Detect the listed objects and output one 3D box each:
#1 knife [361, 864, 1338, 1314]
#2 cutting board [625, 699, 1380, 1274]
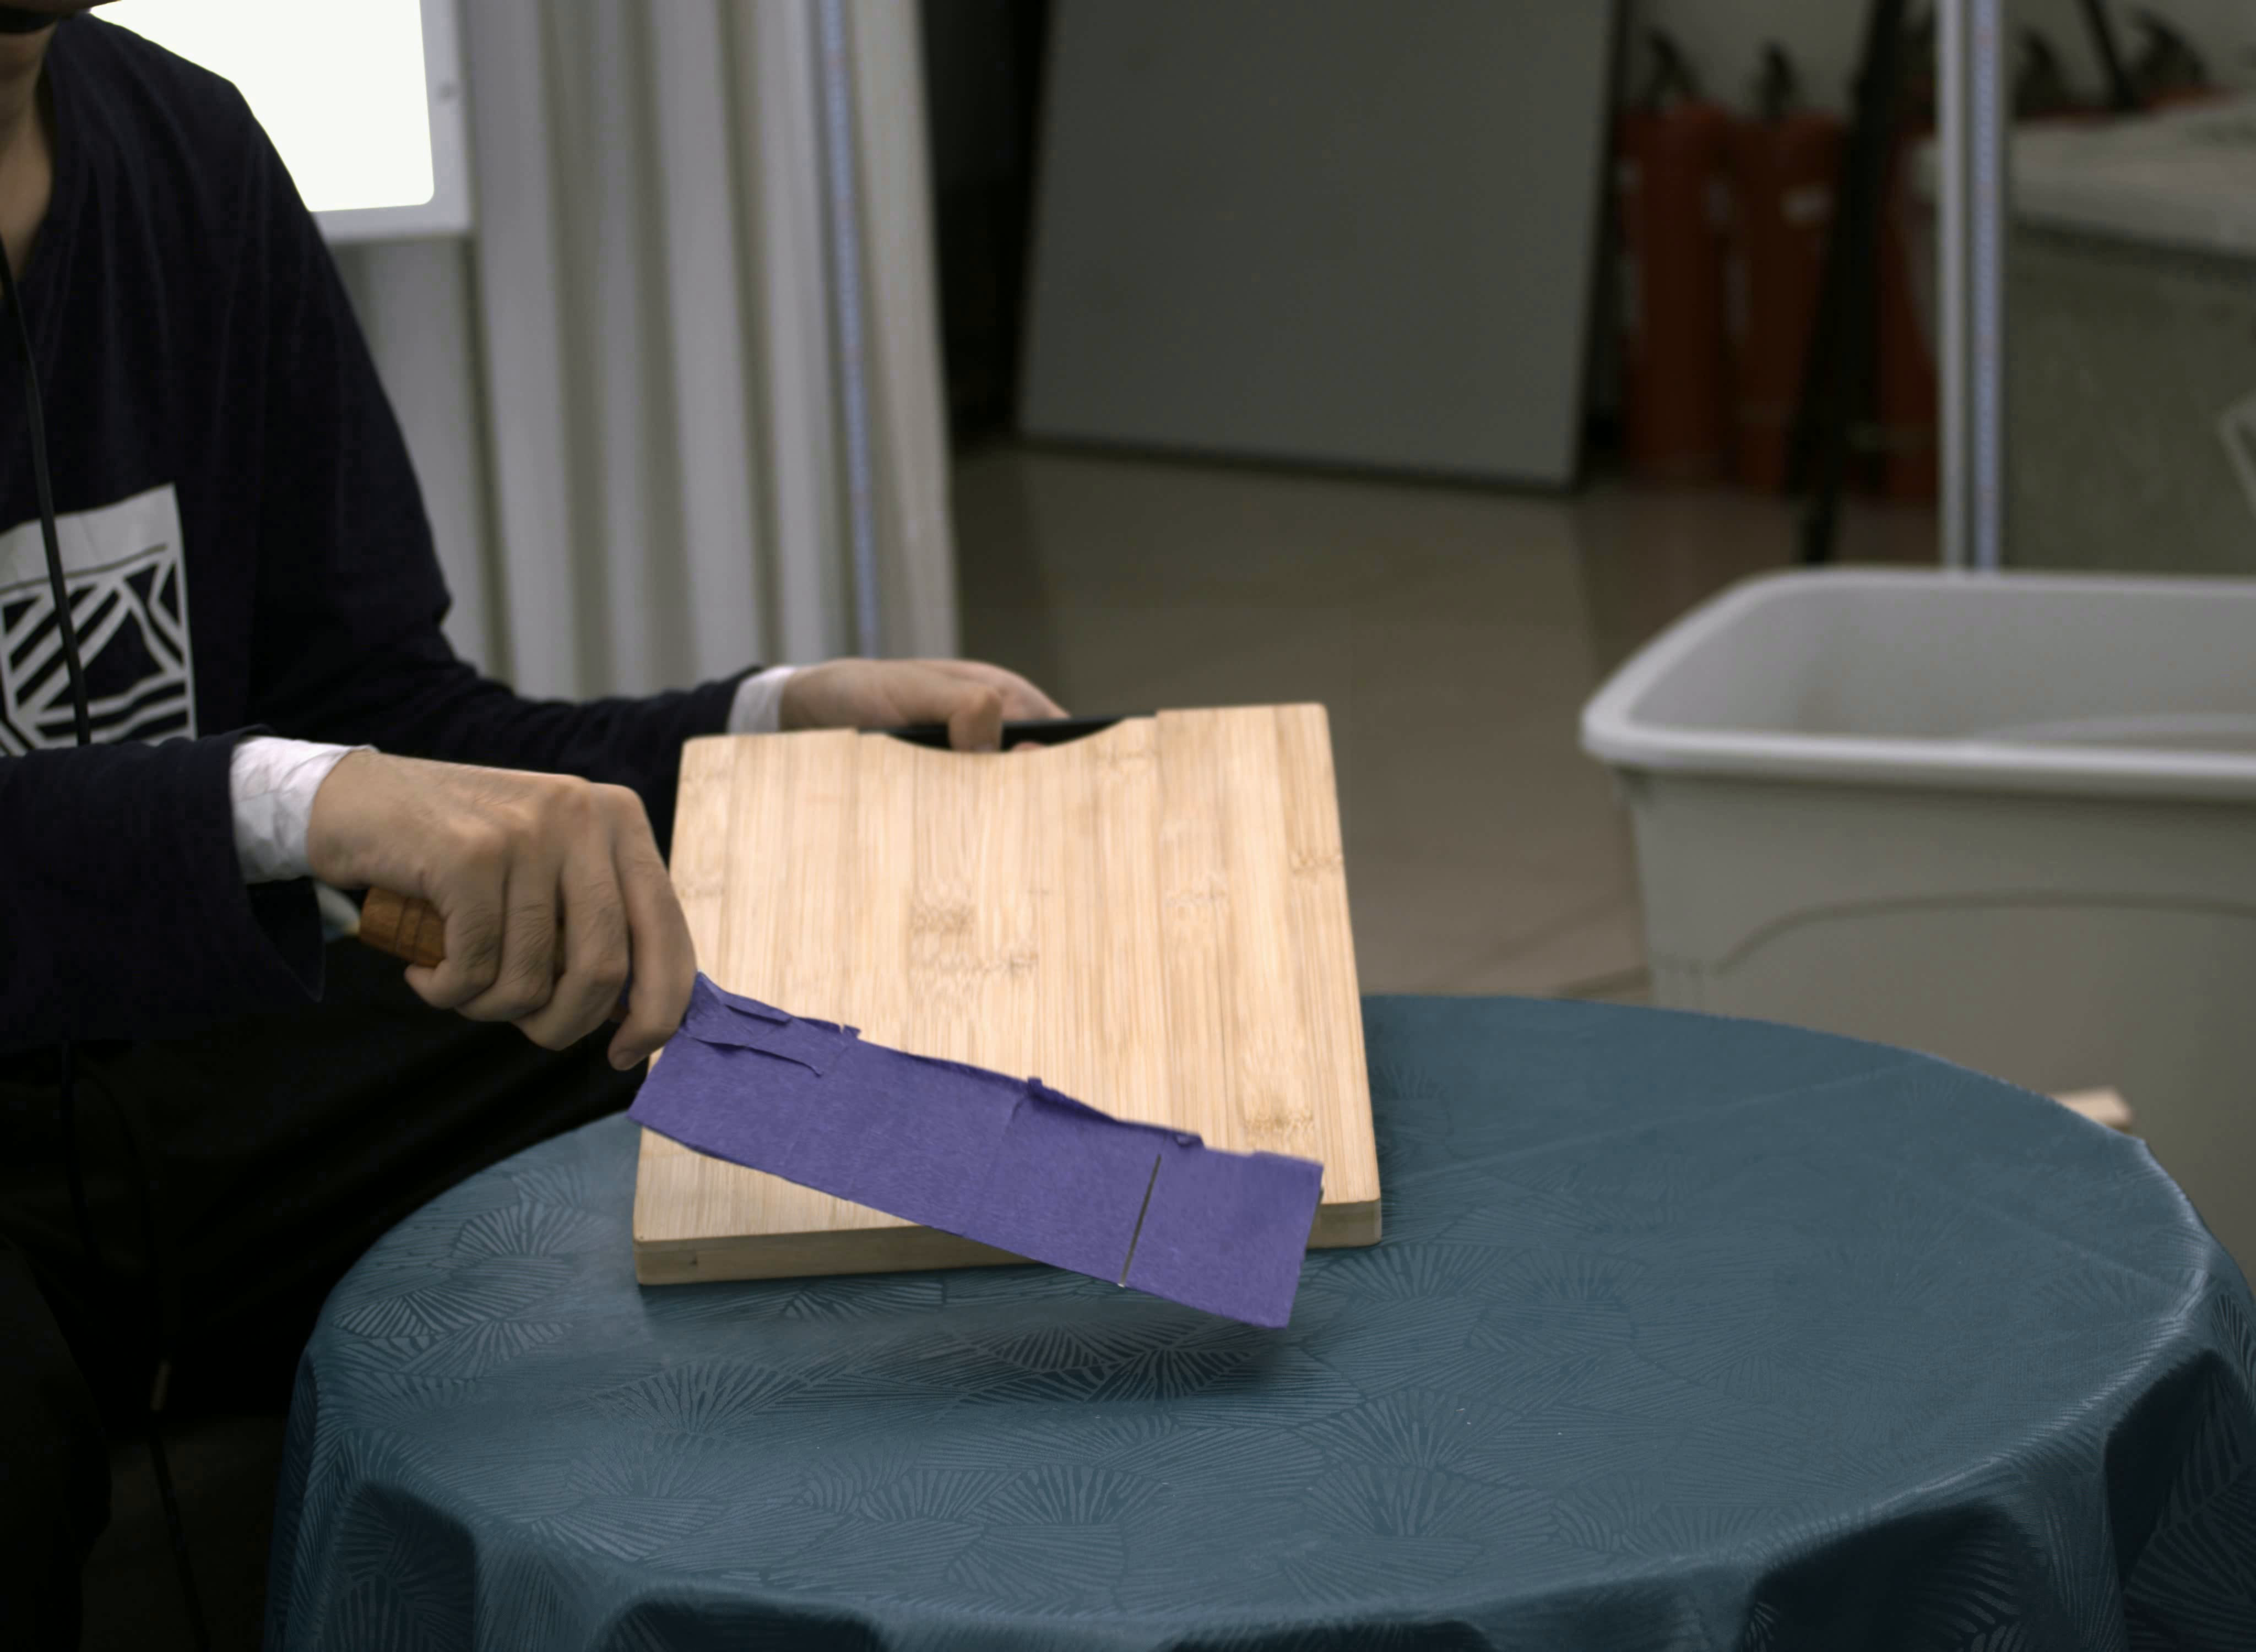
[{"bbox_3d":[-0.089,0.079,1.629,0.312,0.032,0.103,16,25,6],"label":"knife"},{"bbox_3d":[-0.040,0.050,1.857,0.247,0.024,0.350,-4,28,1],"label":"cutting board"}]
